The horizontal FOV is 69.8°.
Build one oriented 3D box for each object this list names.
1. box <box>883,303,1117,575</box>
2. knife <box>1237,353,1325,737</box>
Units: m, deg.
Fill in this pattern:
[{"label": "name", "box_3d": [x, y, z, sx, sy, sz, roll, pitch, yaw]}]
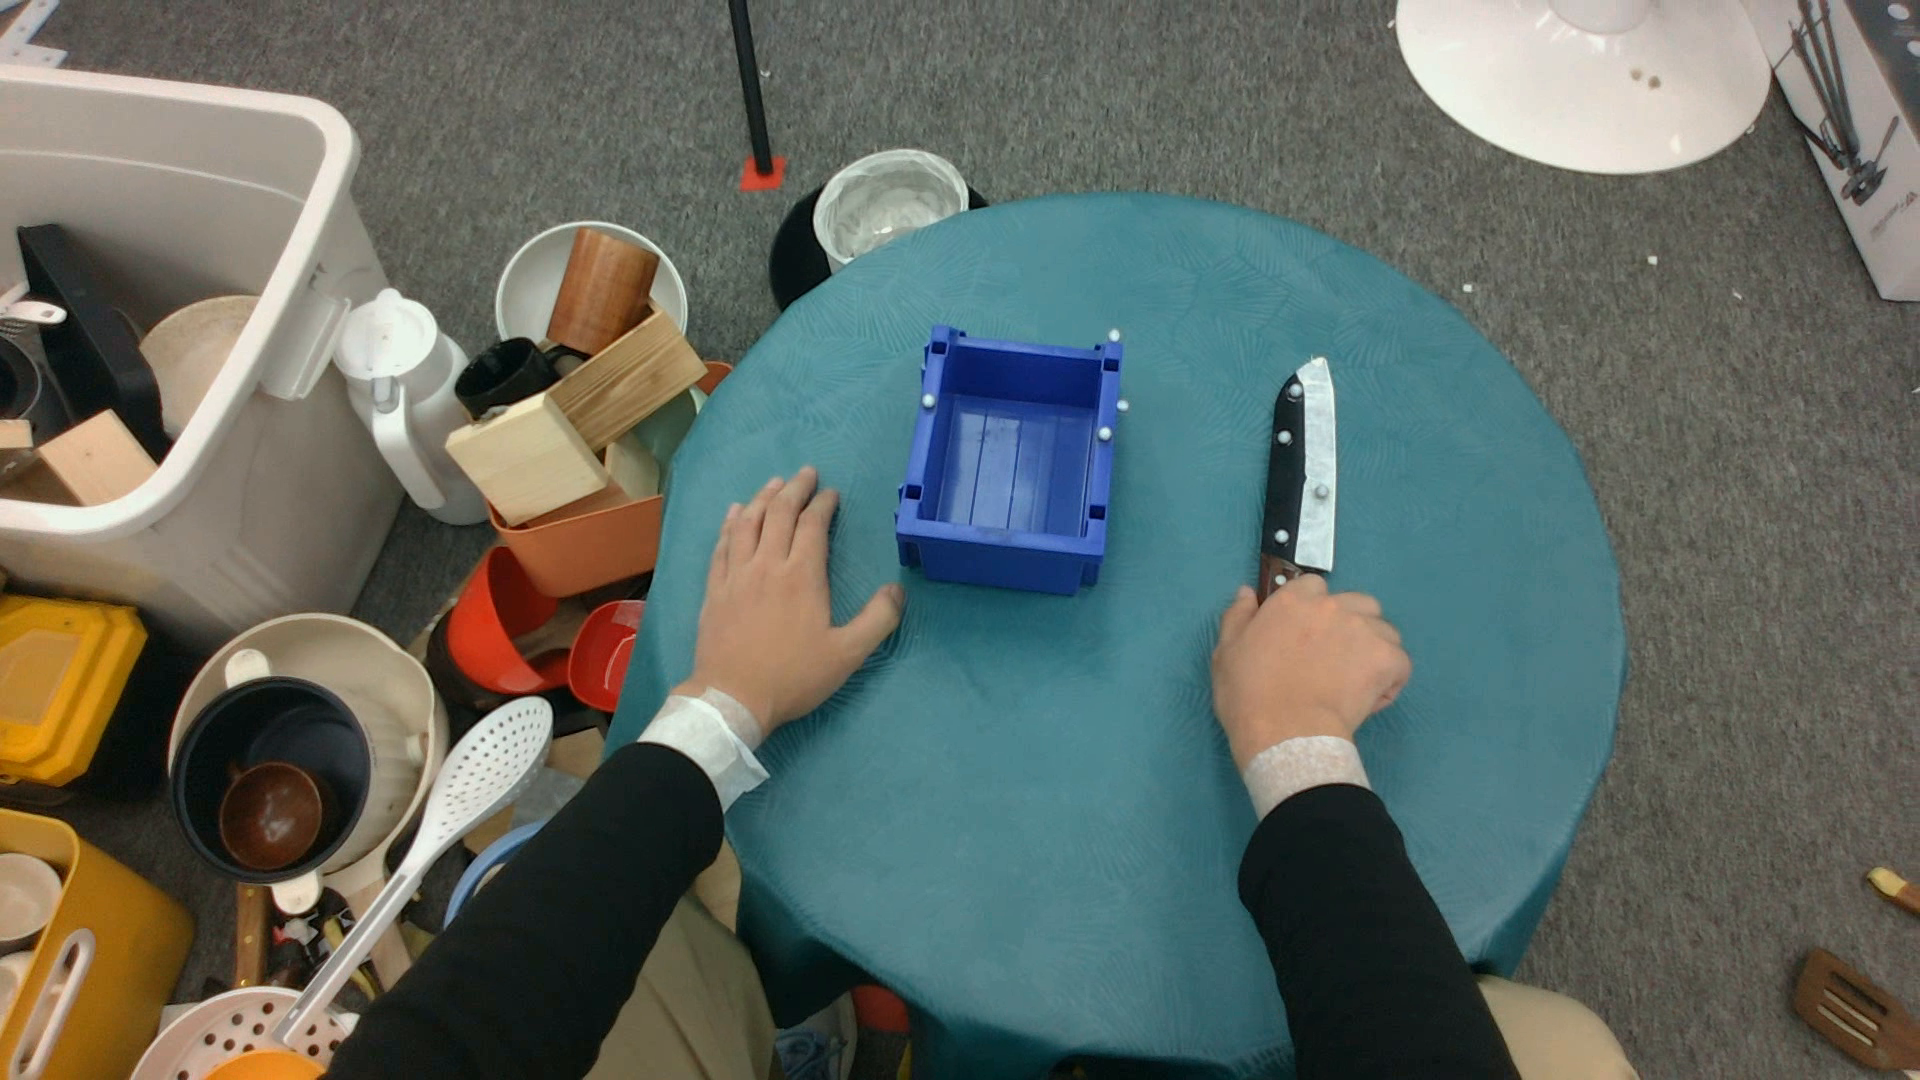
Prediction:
[{"label": "box", "box_3d": [0.027, -0.070, 0.859, 0.124, 0.081, 0.180, 8, 64, 5]}, {"label": "knife", "box_3d": [0.203, -0.008, 0.862, 0.050, 0.020, 0.290, 13, 59, 3]}]
